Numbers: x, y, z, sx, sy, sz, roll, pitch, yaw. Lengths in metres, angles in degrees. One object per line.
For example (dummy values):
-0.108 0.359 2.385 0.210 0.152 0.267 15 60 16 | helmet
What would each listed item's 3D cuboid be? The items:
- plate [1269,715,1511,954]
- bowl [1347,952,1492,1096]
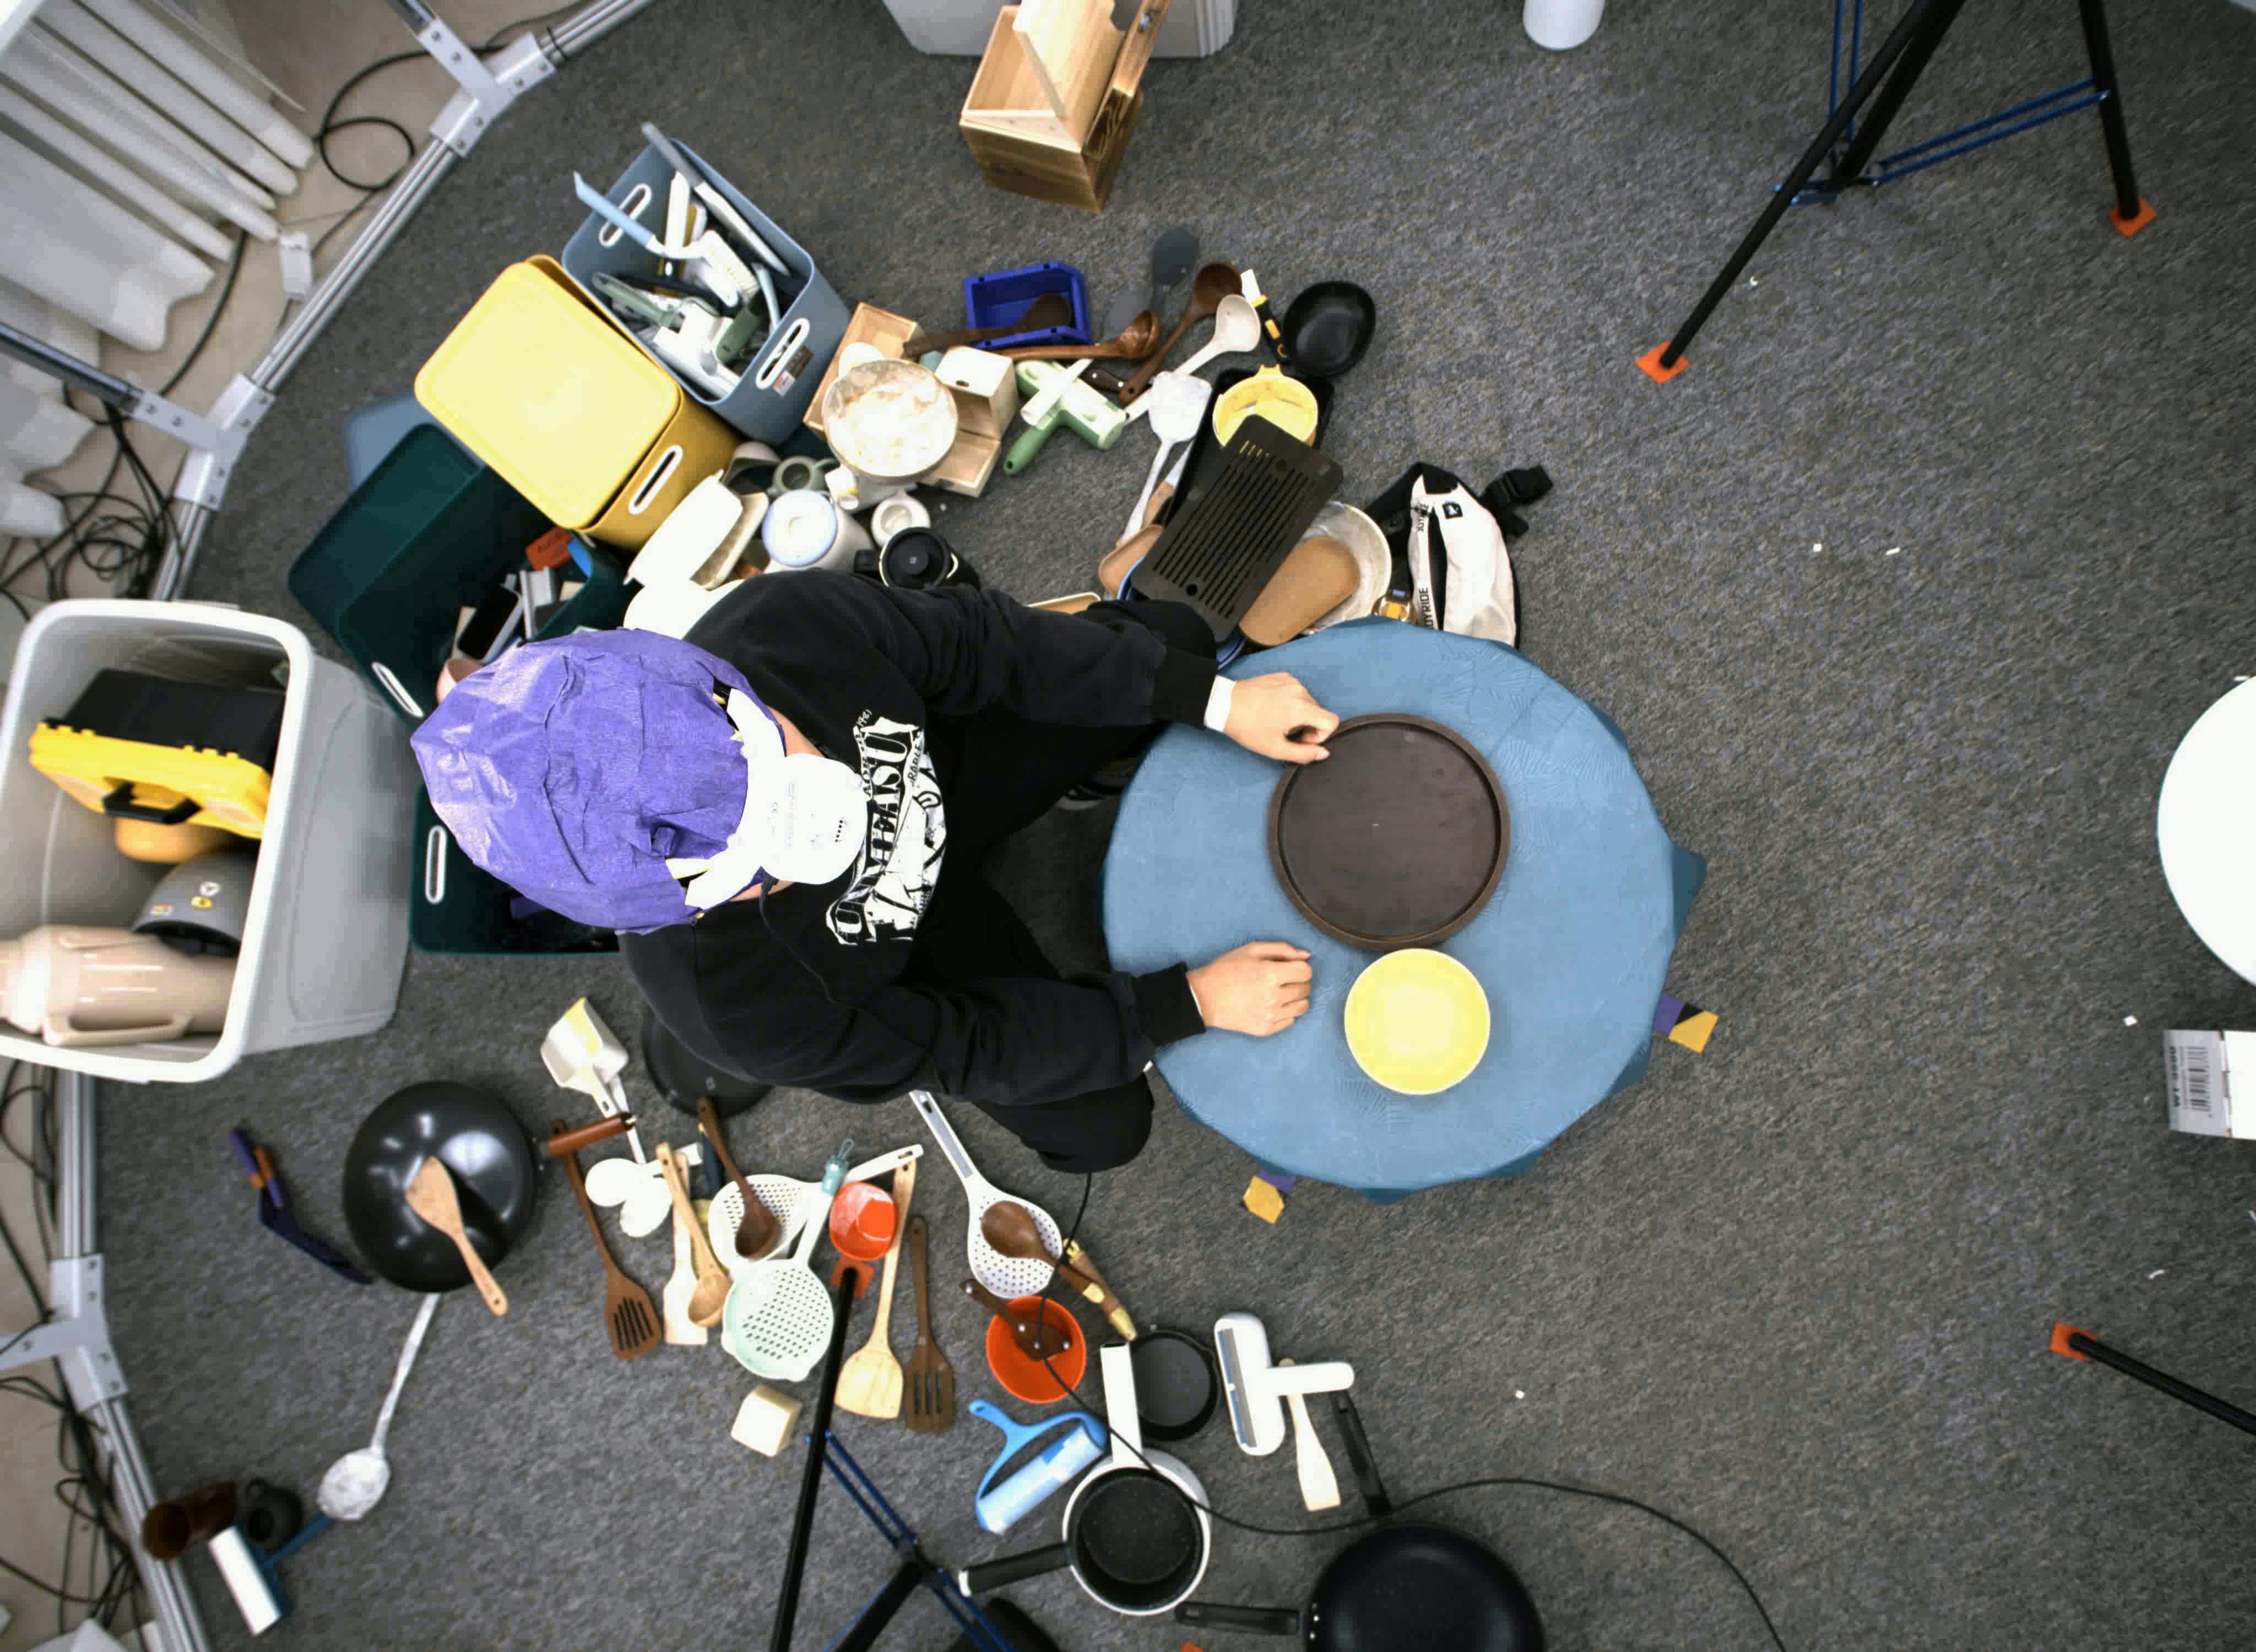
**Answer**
0.276 0.008 1.457 0.256 0.029 0.254 -1 88 11 | plate
0.300 0.202 1.422 0.146 0.060 0.144 -2 83 12 | bowl
